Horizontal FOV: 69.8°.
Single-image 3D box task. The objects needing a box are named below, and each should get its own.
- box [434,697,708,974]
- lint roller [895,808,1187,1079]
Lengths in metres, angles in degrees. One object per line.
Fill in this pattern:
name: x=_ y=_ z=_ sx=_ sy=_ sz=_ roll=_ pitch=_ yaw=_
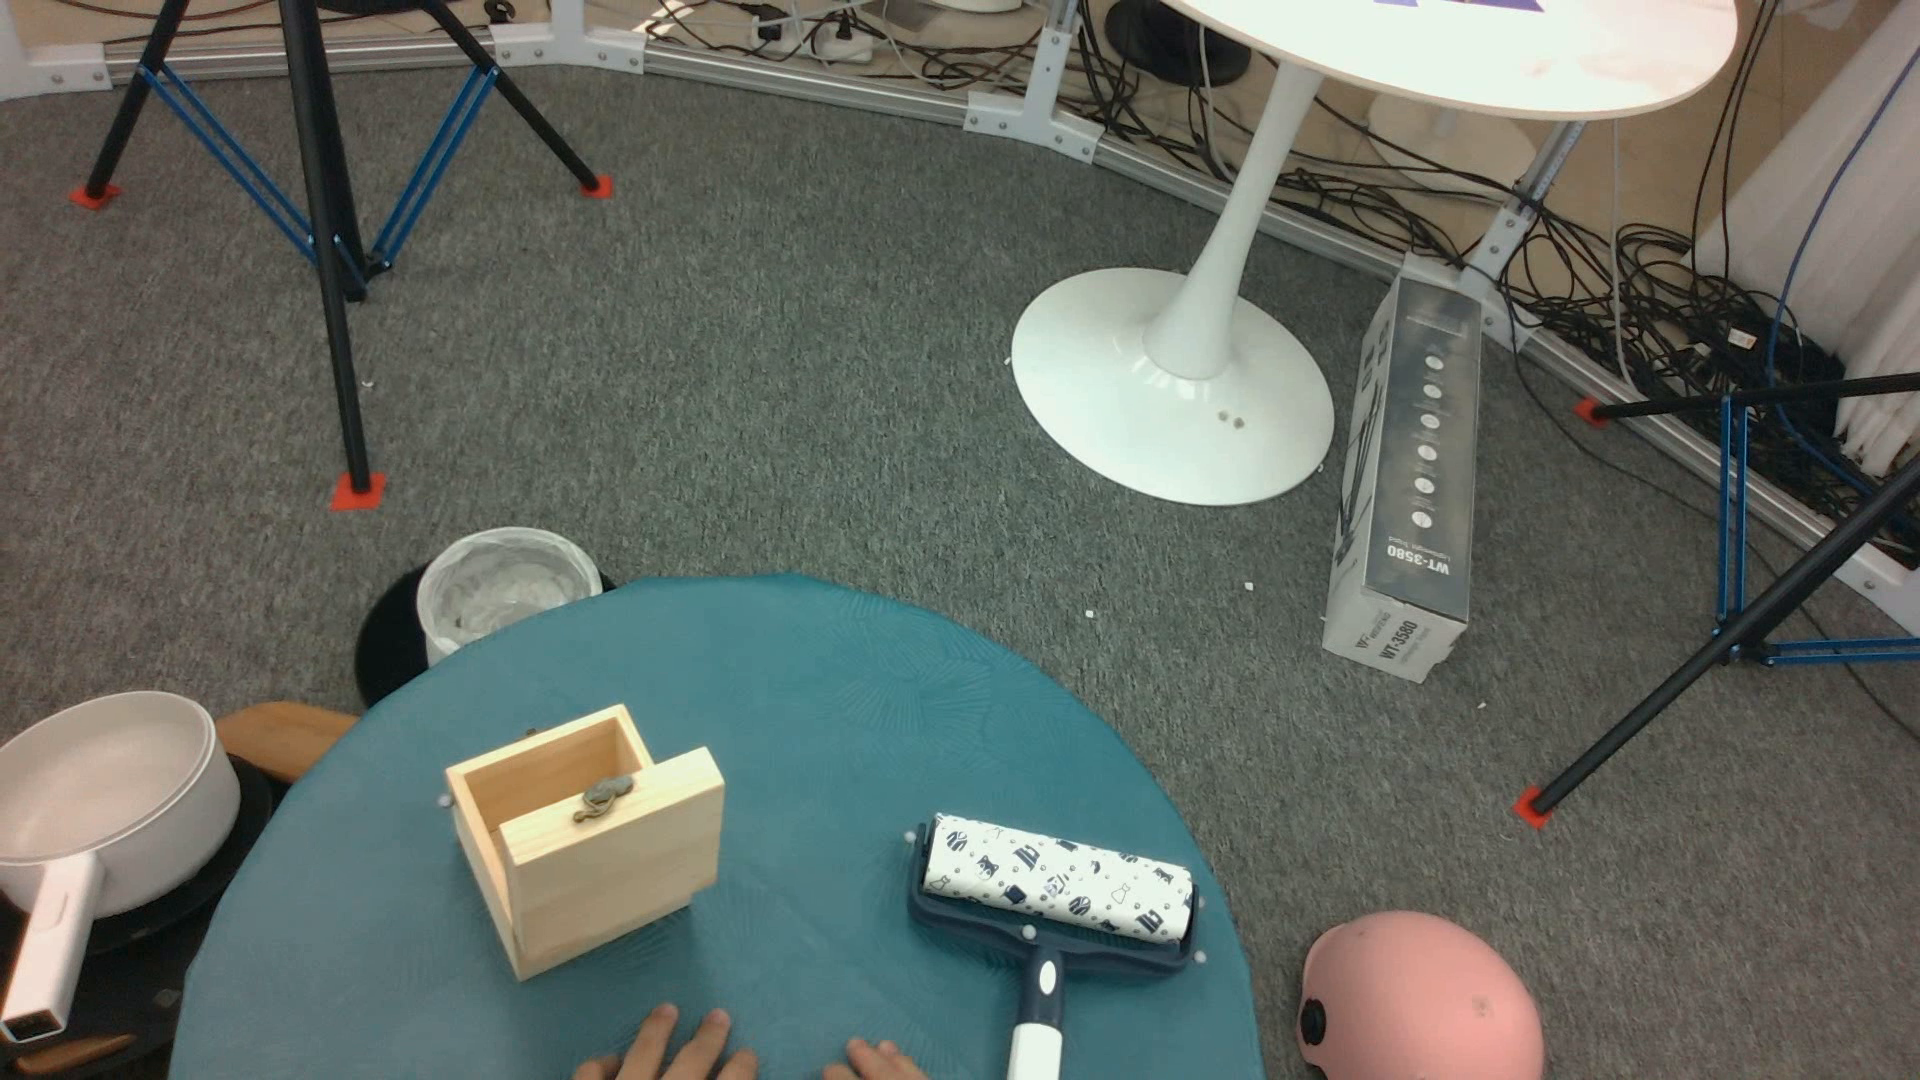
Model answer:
box: x=-0.211 y=0.140 z=0.733 sx=0.103 sy=0.183 sz=0.134 roll=-21 pitch=59 yaw=-28
lint roller: x=0.039 y=0.279 z=0.773 sx=0.176 sy=0.050 sz=0.248 roll=13 pitch=50 yaw=-5
